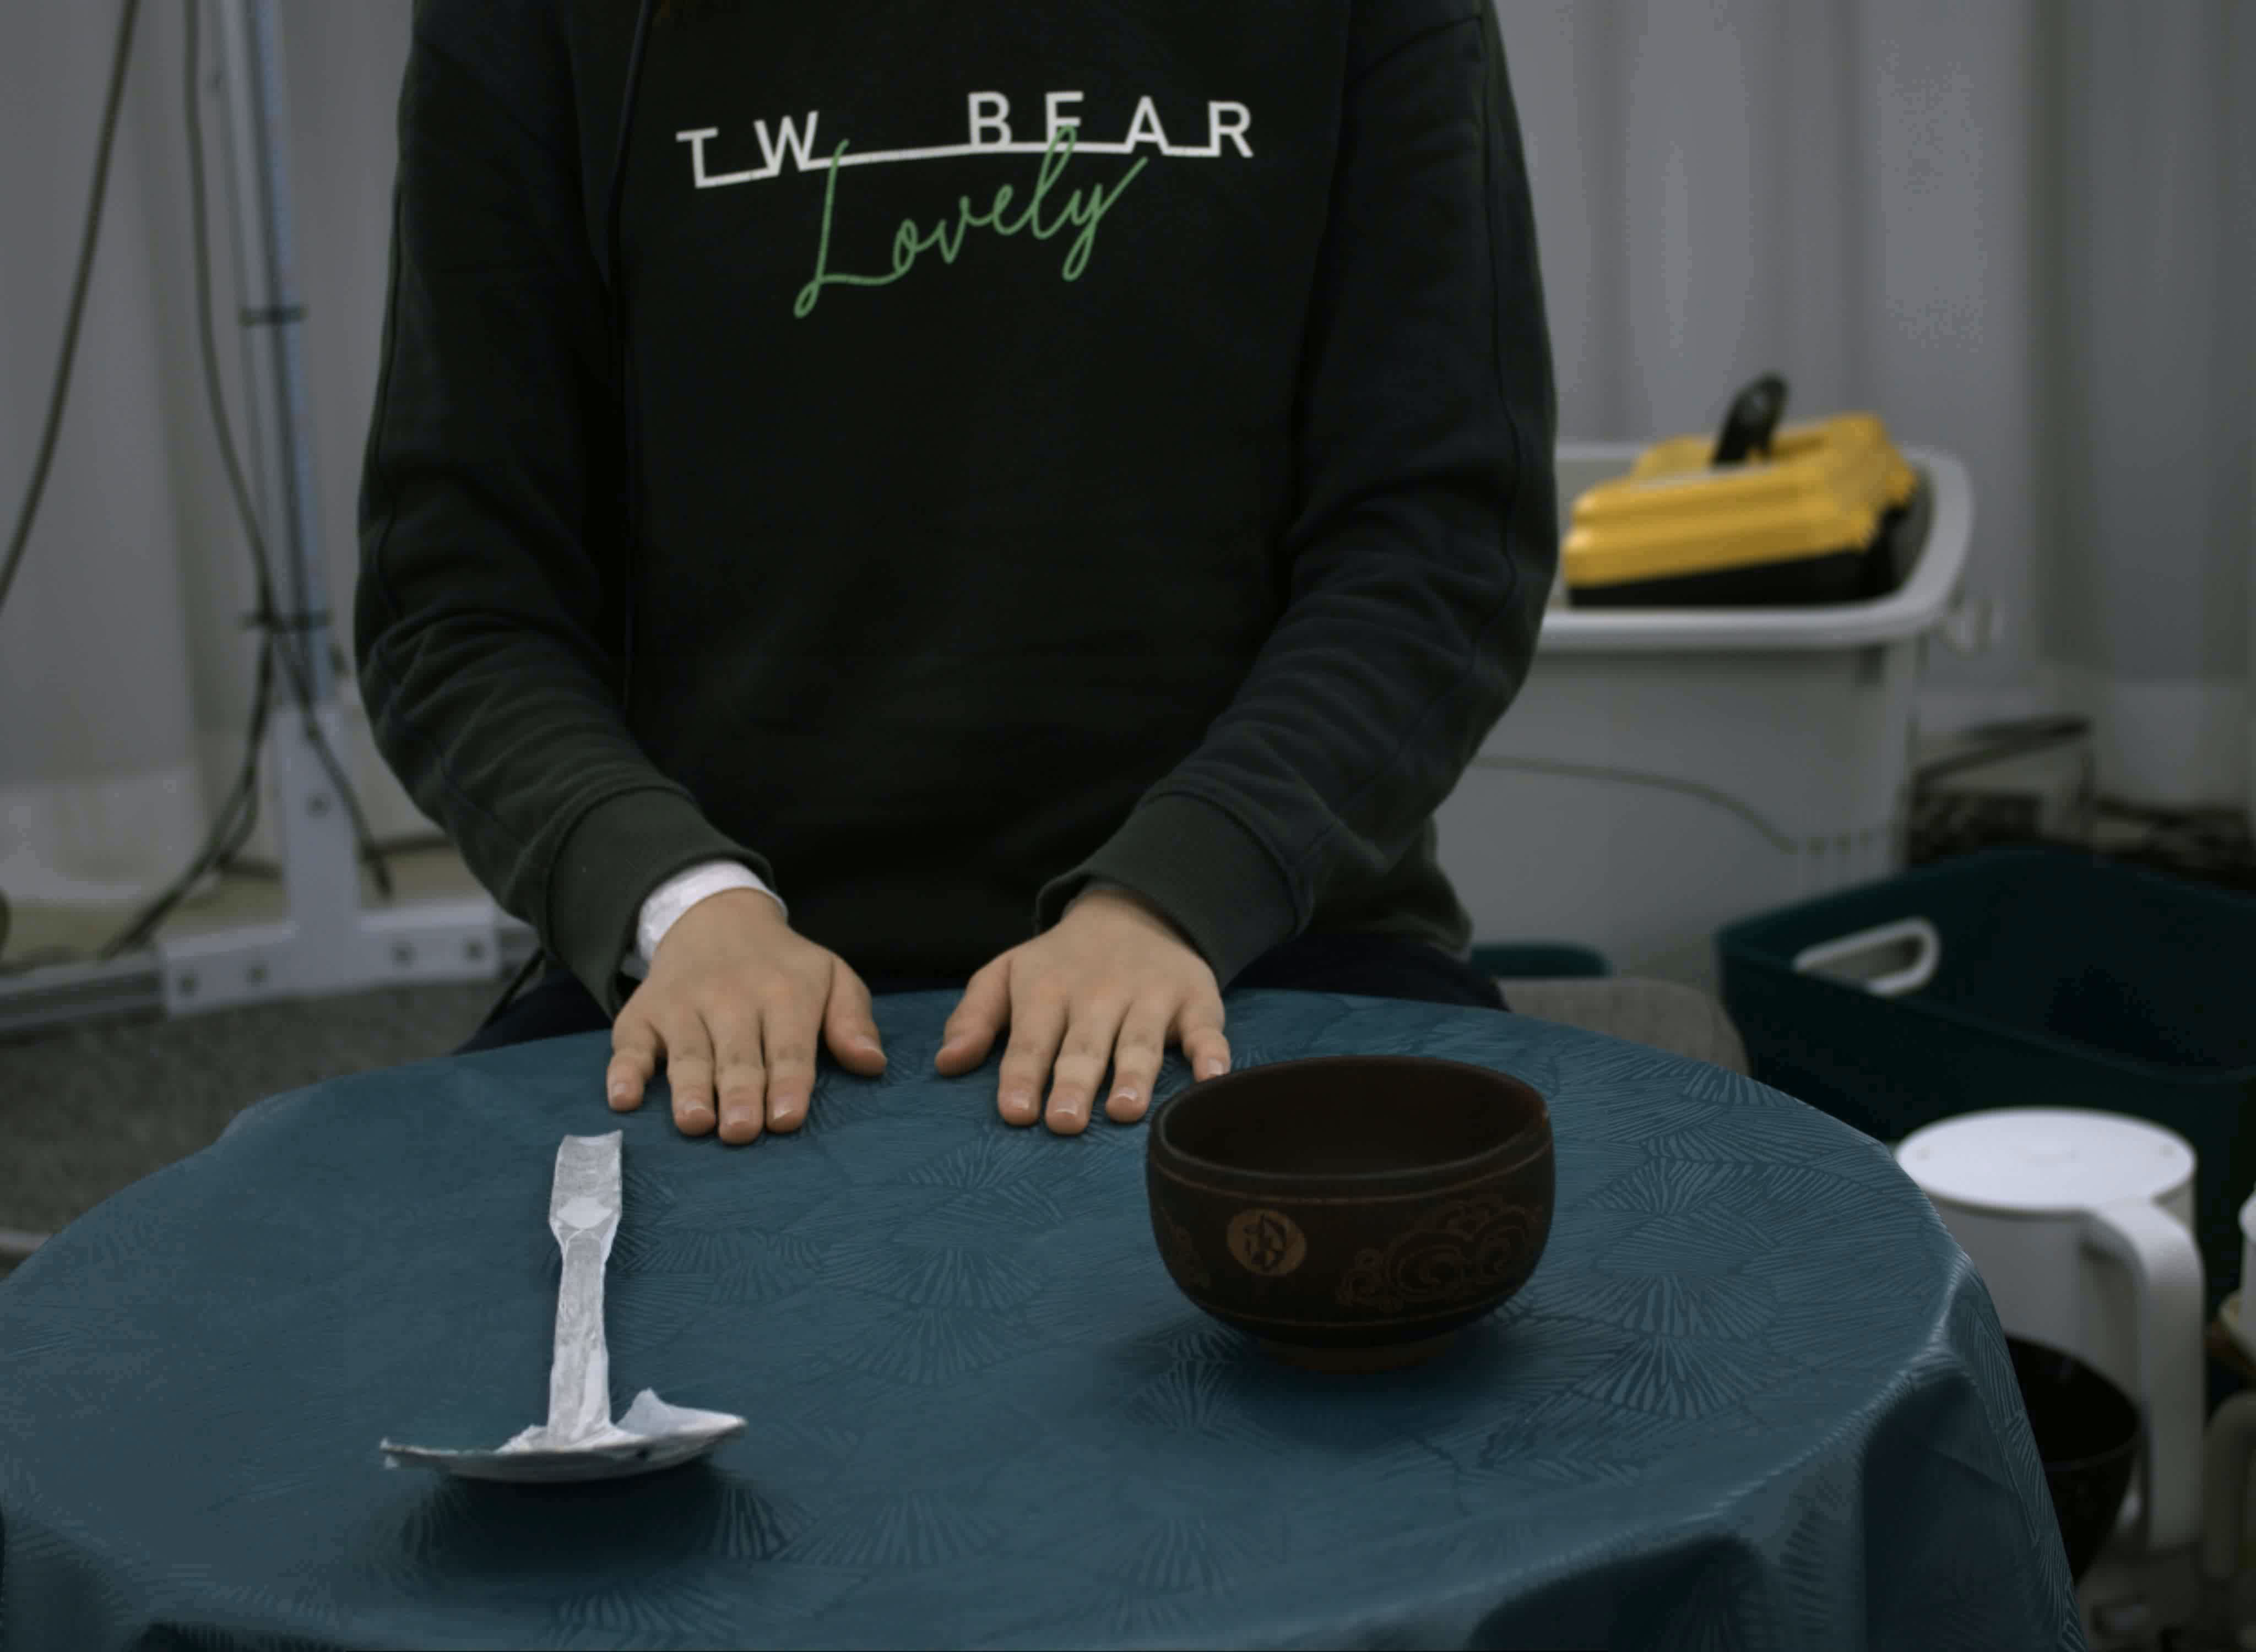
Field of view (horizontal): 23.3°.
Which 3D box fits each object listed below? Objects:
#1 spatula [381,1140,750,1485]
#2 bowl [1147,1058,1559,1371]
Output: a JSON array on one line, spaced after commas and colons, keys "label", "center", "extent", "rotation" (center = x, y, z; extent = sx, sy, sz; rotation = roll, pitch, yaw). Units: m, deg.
[{"label": "spatula", "center": [-0.156, 0.133, 1.600], "extent": [0.098, 0.044, 0.367], "rotation": [-5, 15, -2]}, {"label": "bowl", "center": [0.065, 0.115, 1.566], "extent": [0.117, 0.069, 0.118], "rotation": [-2, 12, 0]}]
